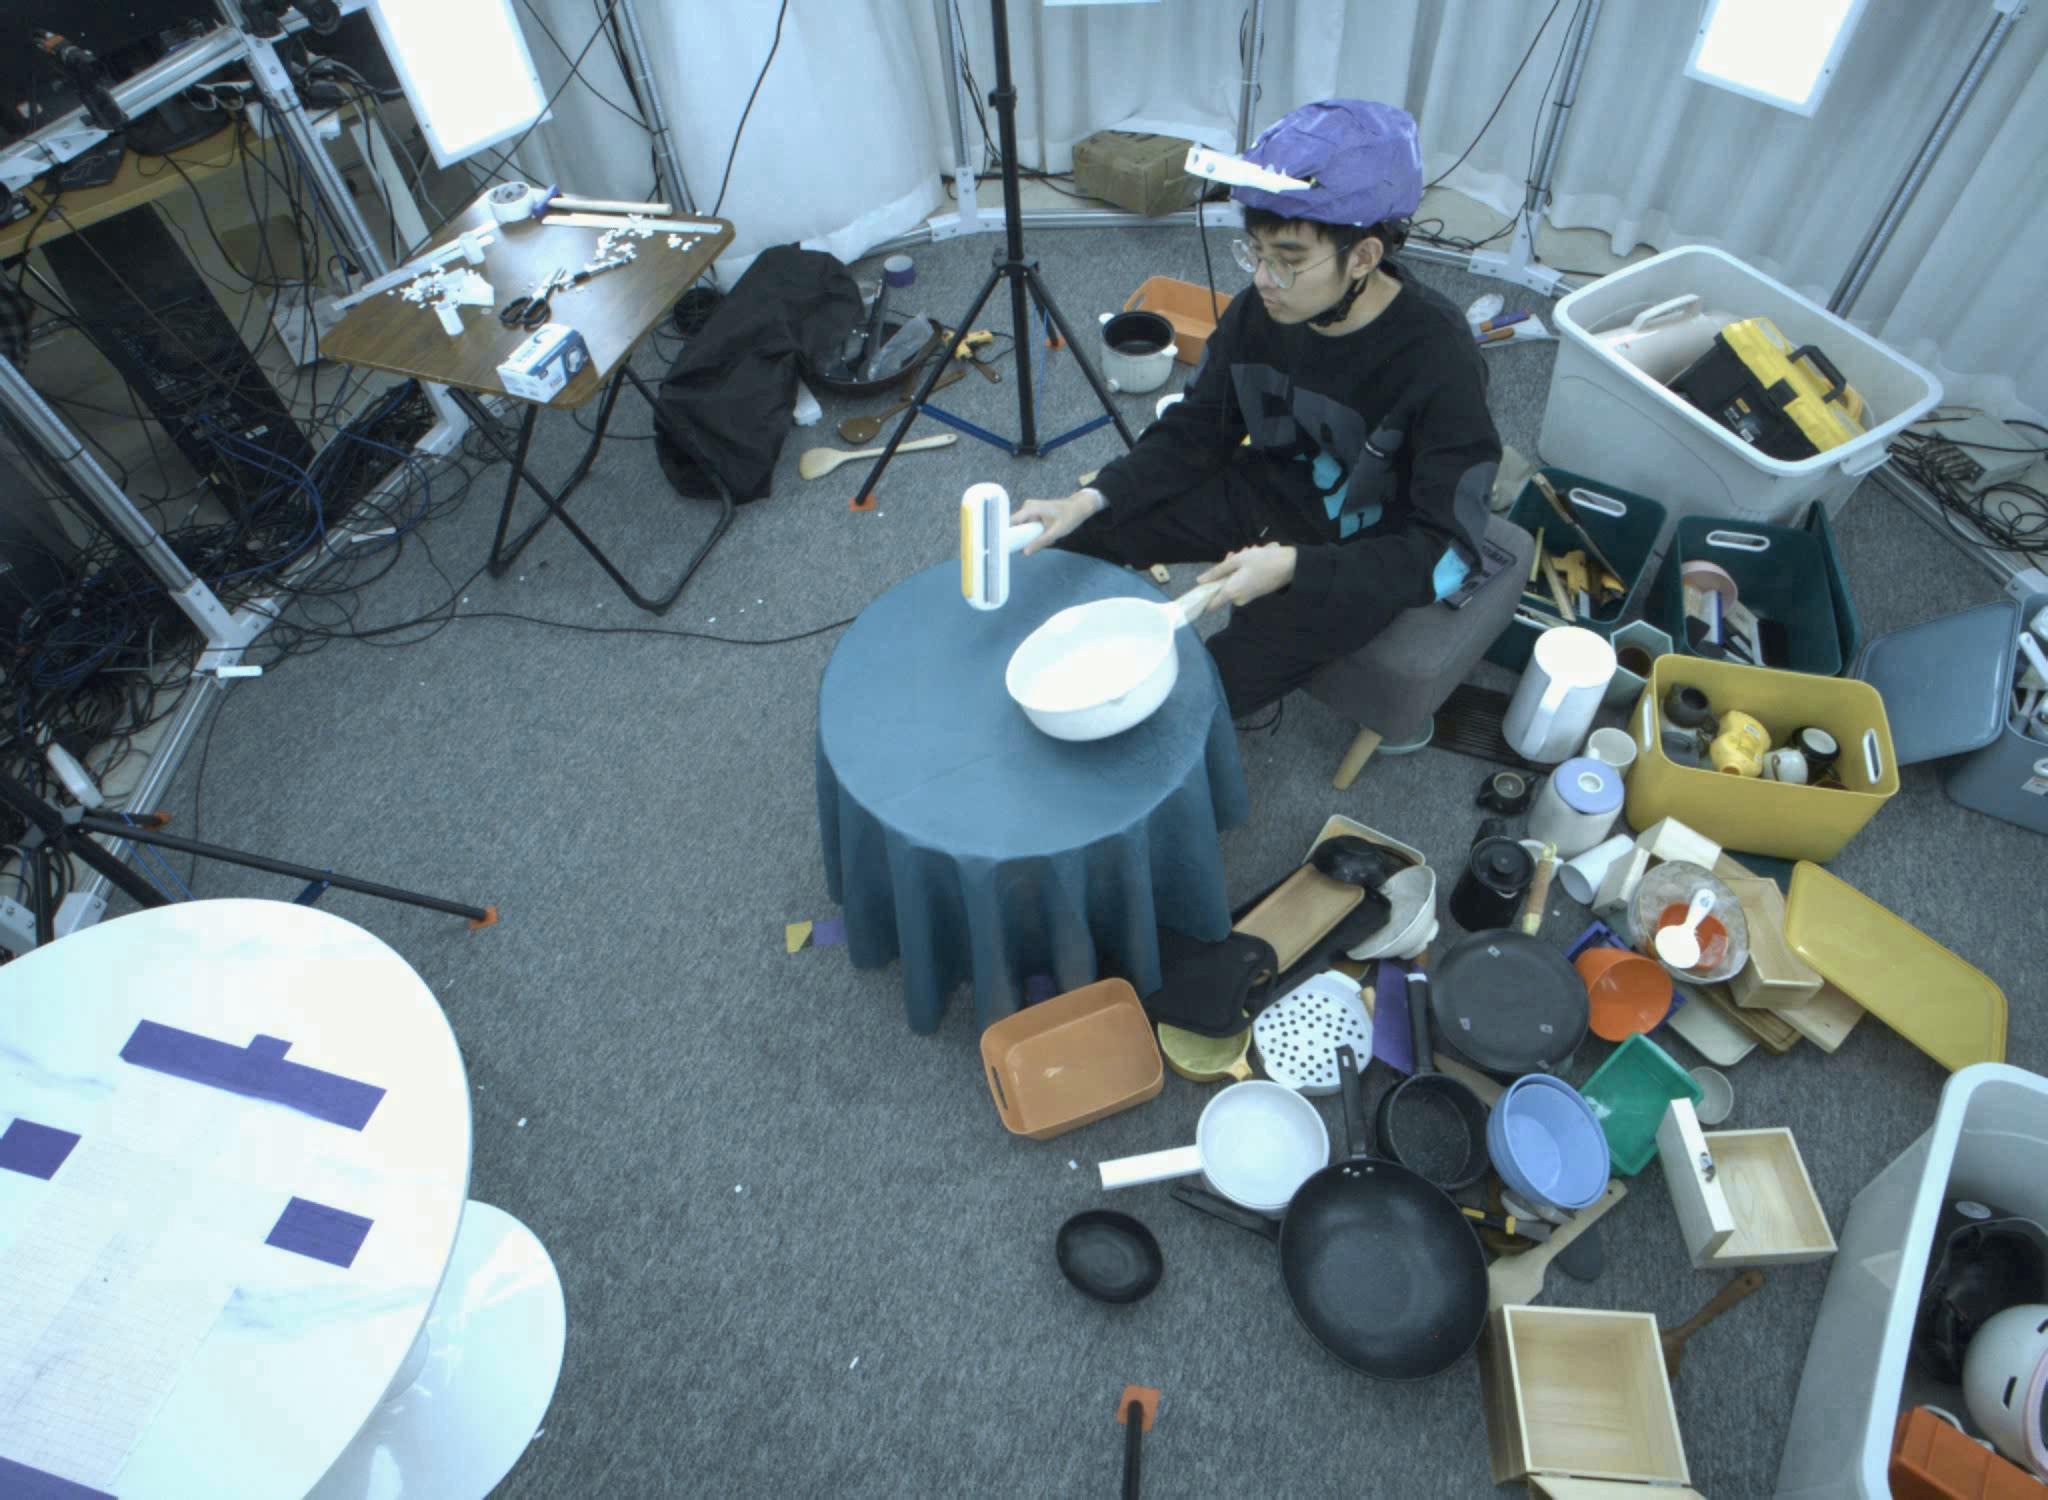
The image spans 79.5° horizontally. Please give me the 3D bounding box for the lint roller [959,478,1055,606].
[{"bbox_3d":[-0.018,-0.325,1.871,0.196,0.194,0.072,-16,26,-36],"label":"lint roller"}]

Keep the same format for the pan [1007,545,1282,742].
[{"bbox_3d":[0.186,-0.155,1.762,0.435,0.104,0.258,-27,35,-2],"label":"pan"}]
